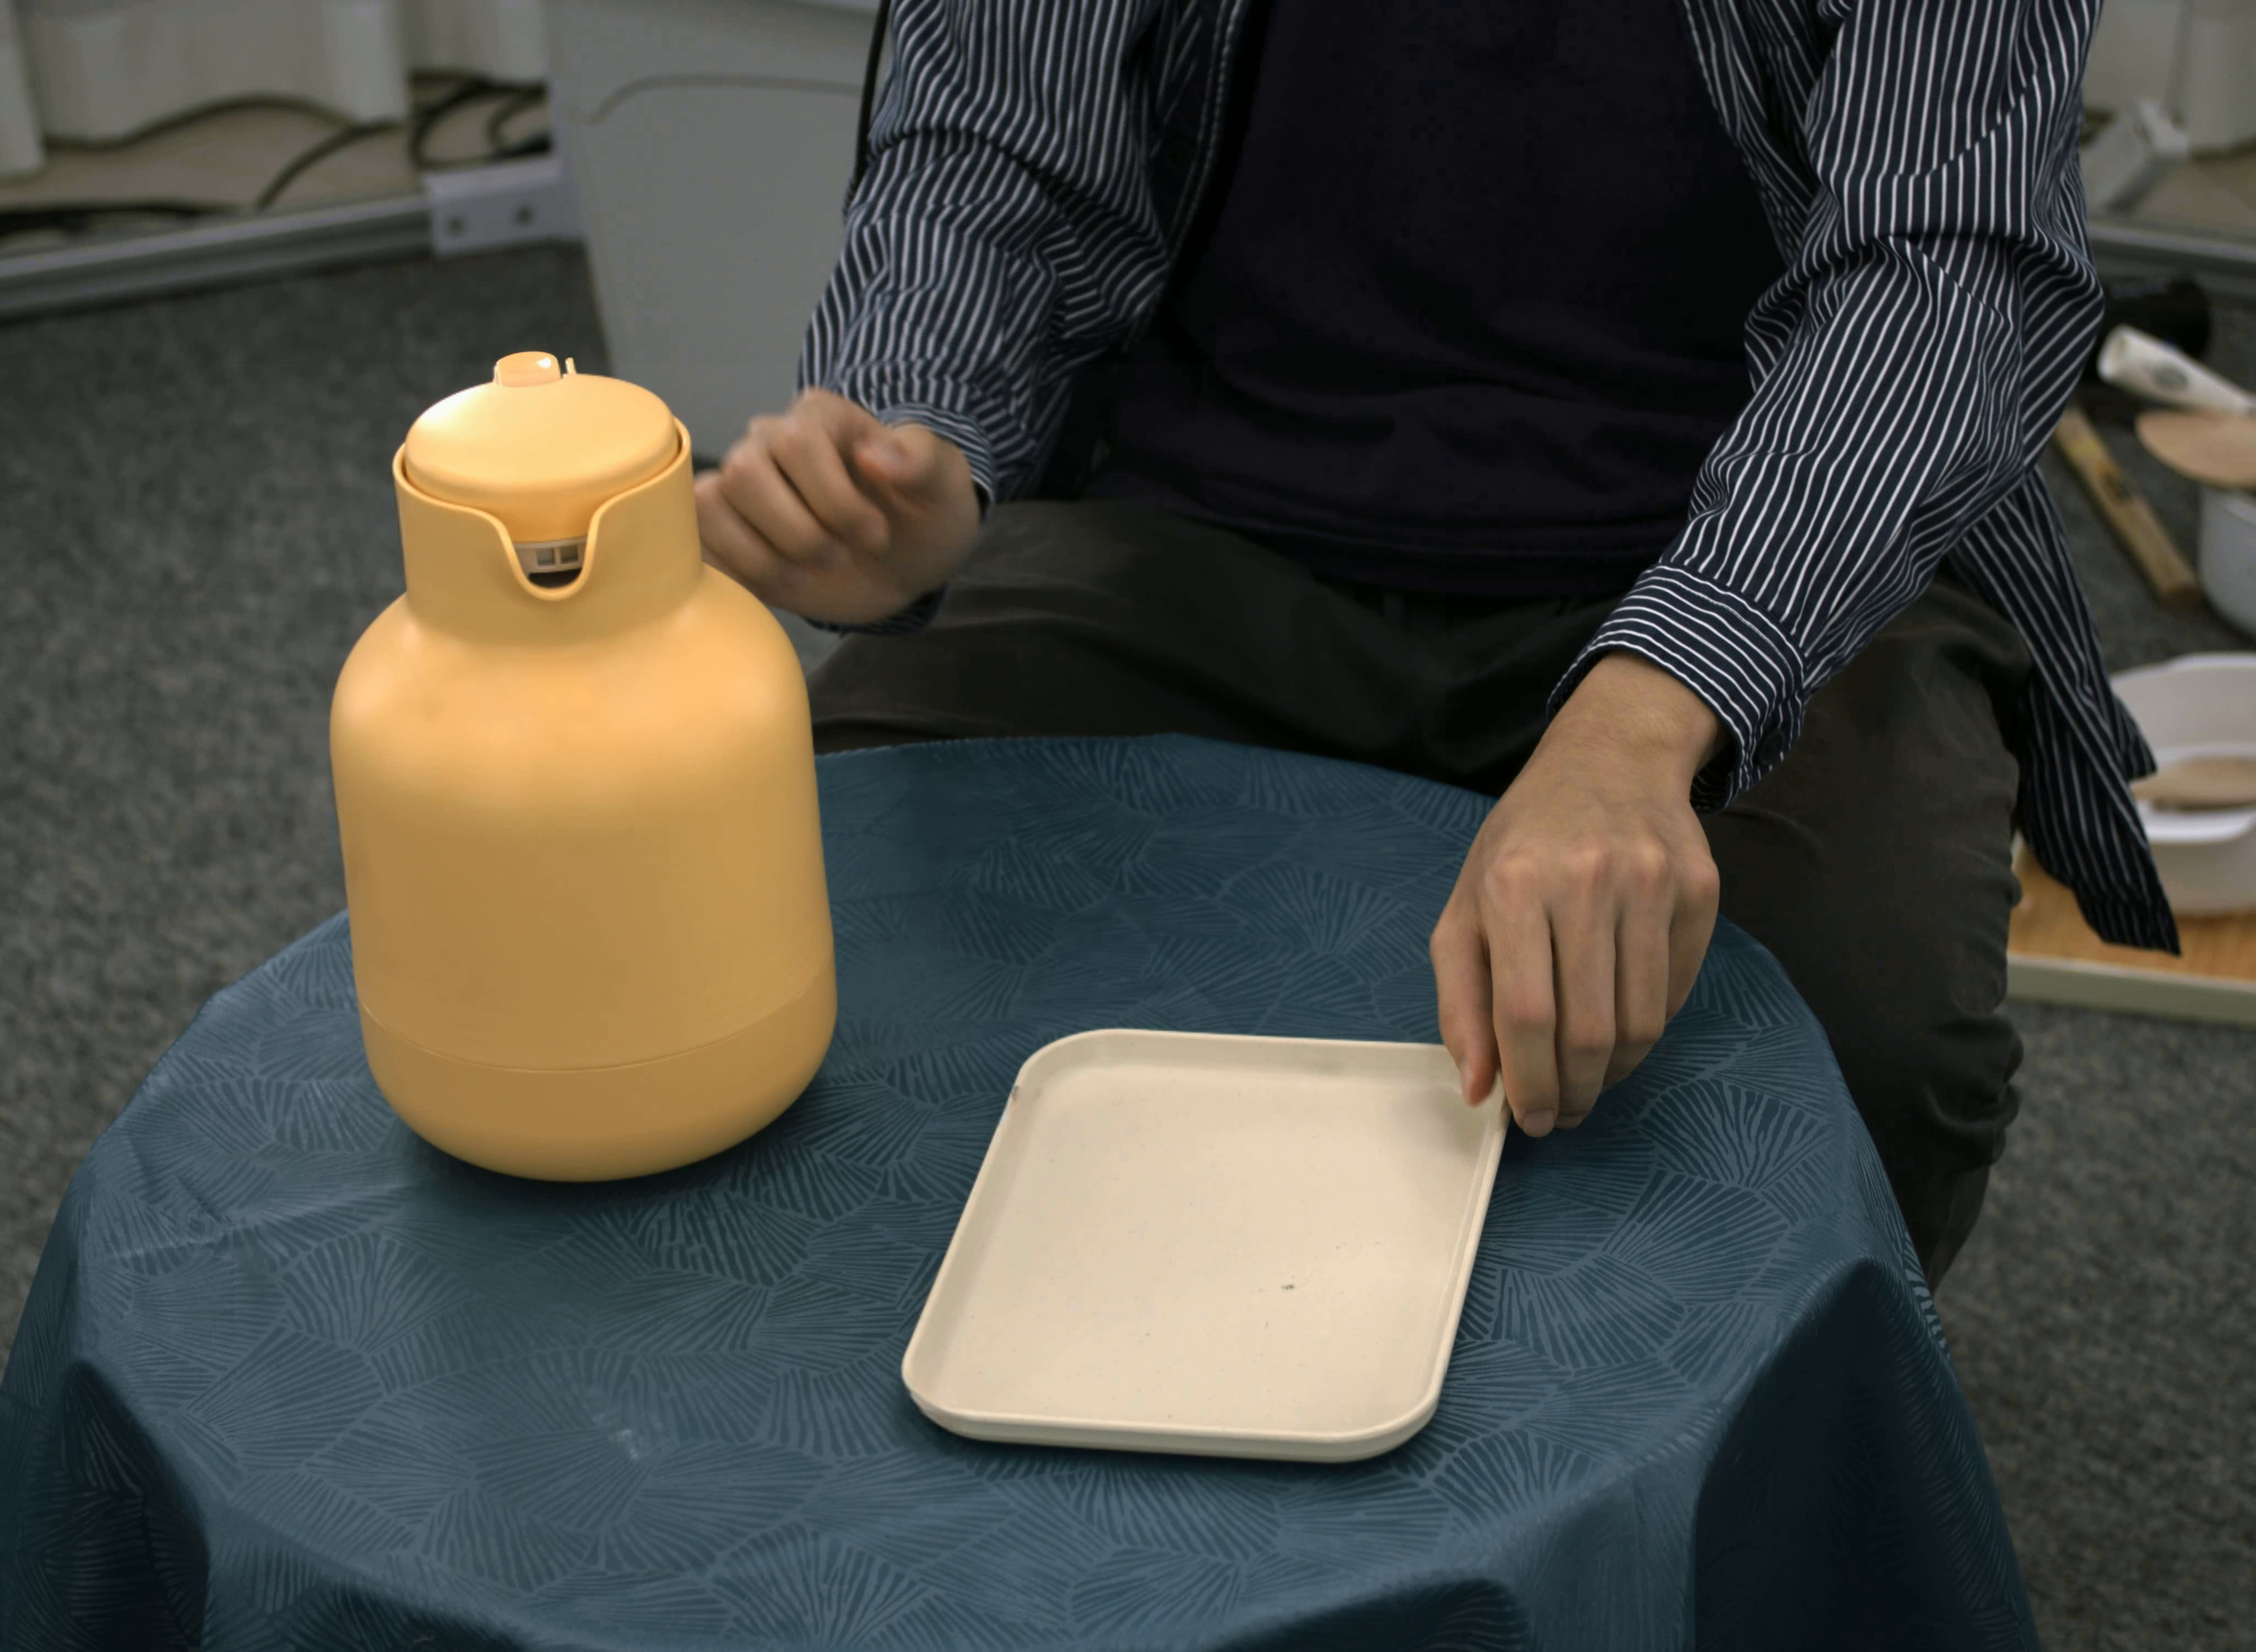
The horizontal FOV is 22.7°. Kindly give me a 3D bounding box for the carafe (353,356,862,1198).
[{"bbox_3d":[-0.177,-0.026,1.880,0.163,0.257,0.205,-6,27,-9],"label":"carafe"}]

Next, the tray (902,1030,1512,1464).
[{"bbox_3d":[0.029,0.134,1.809,0.170,0.017,0.244,3,28,10],"label":"tray"}]
